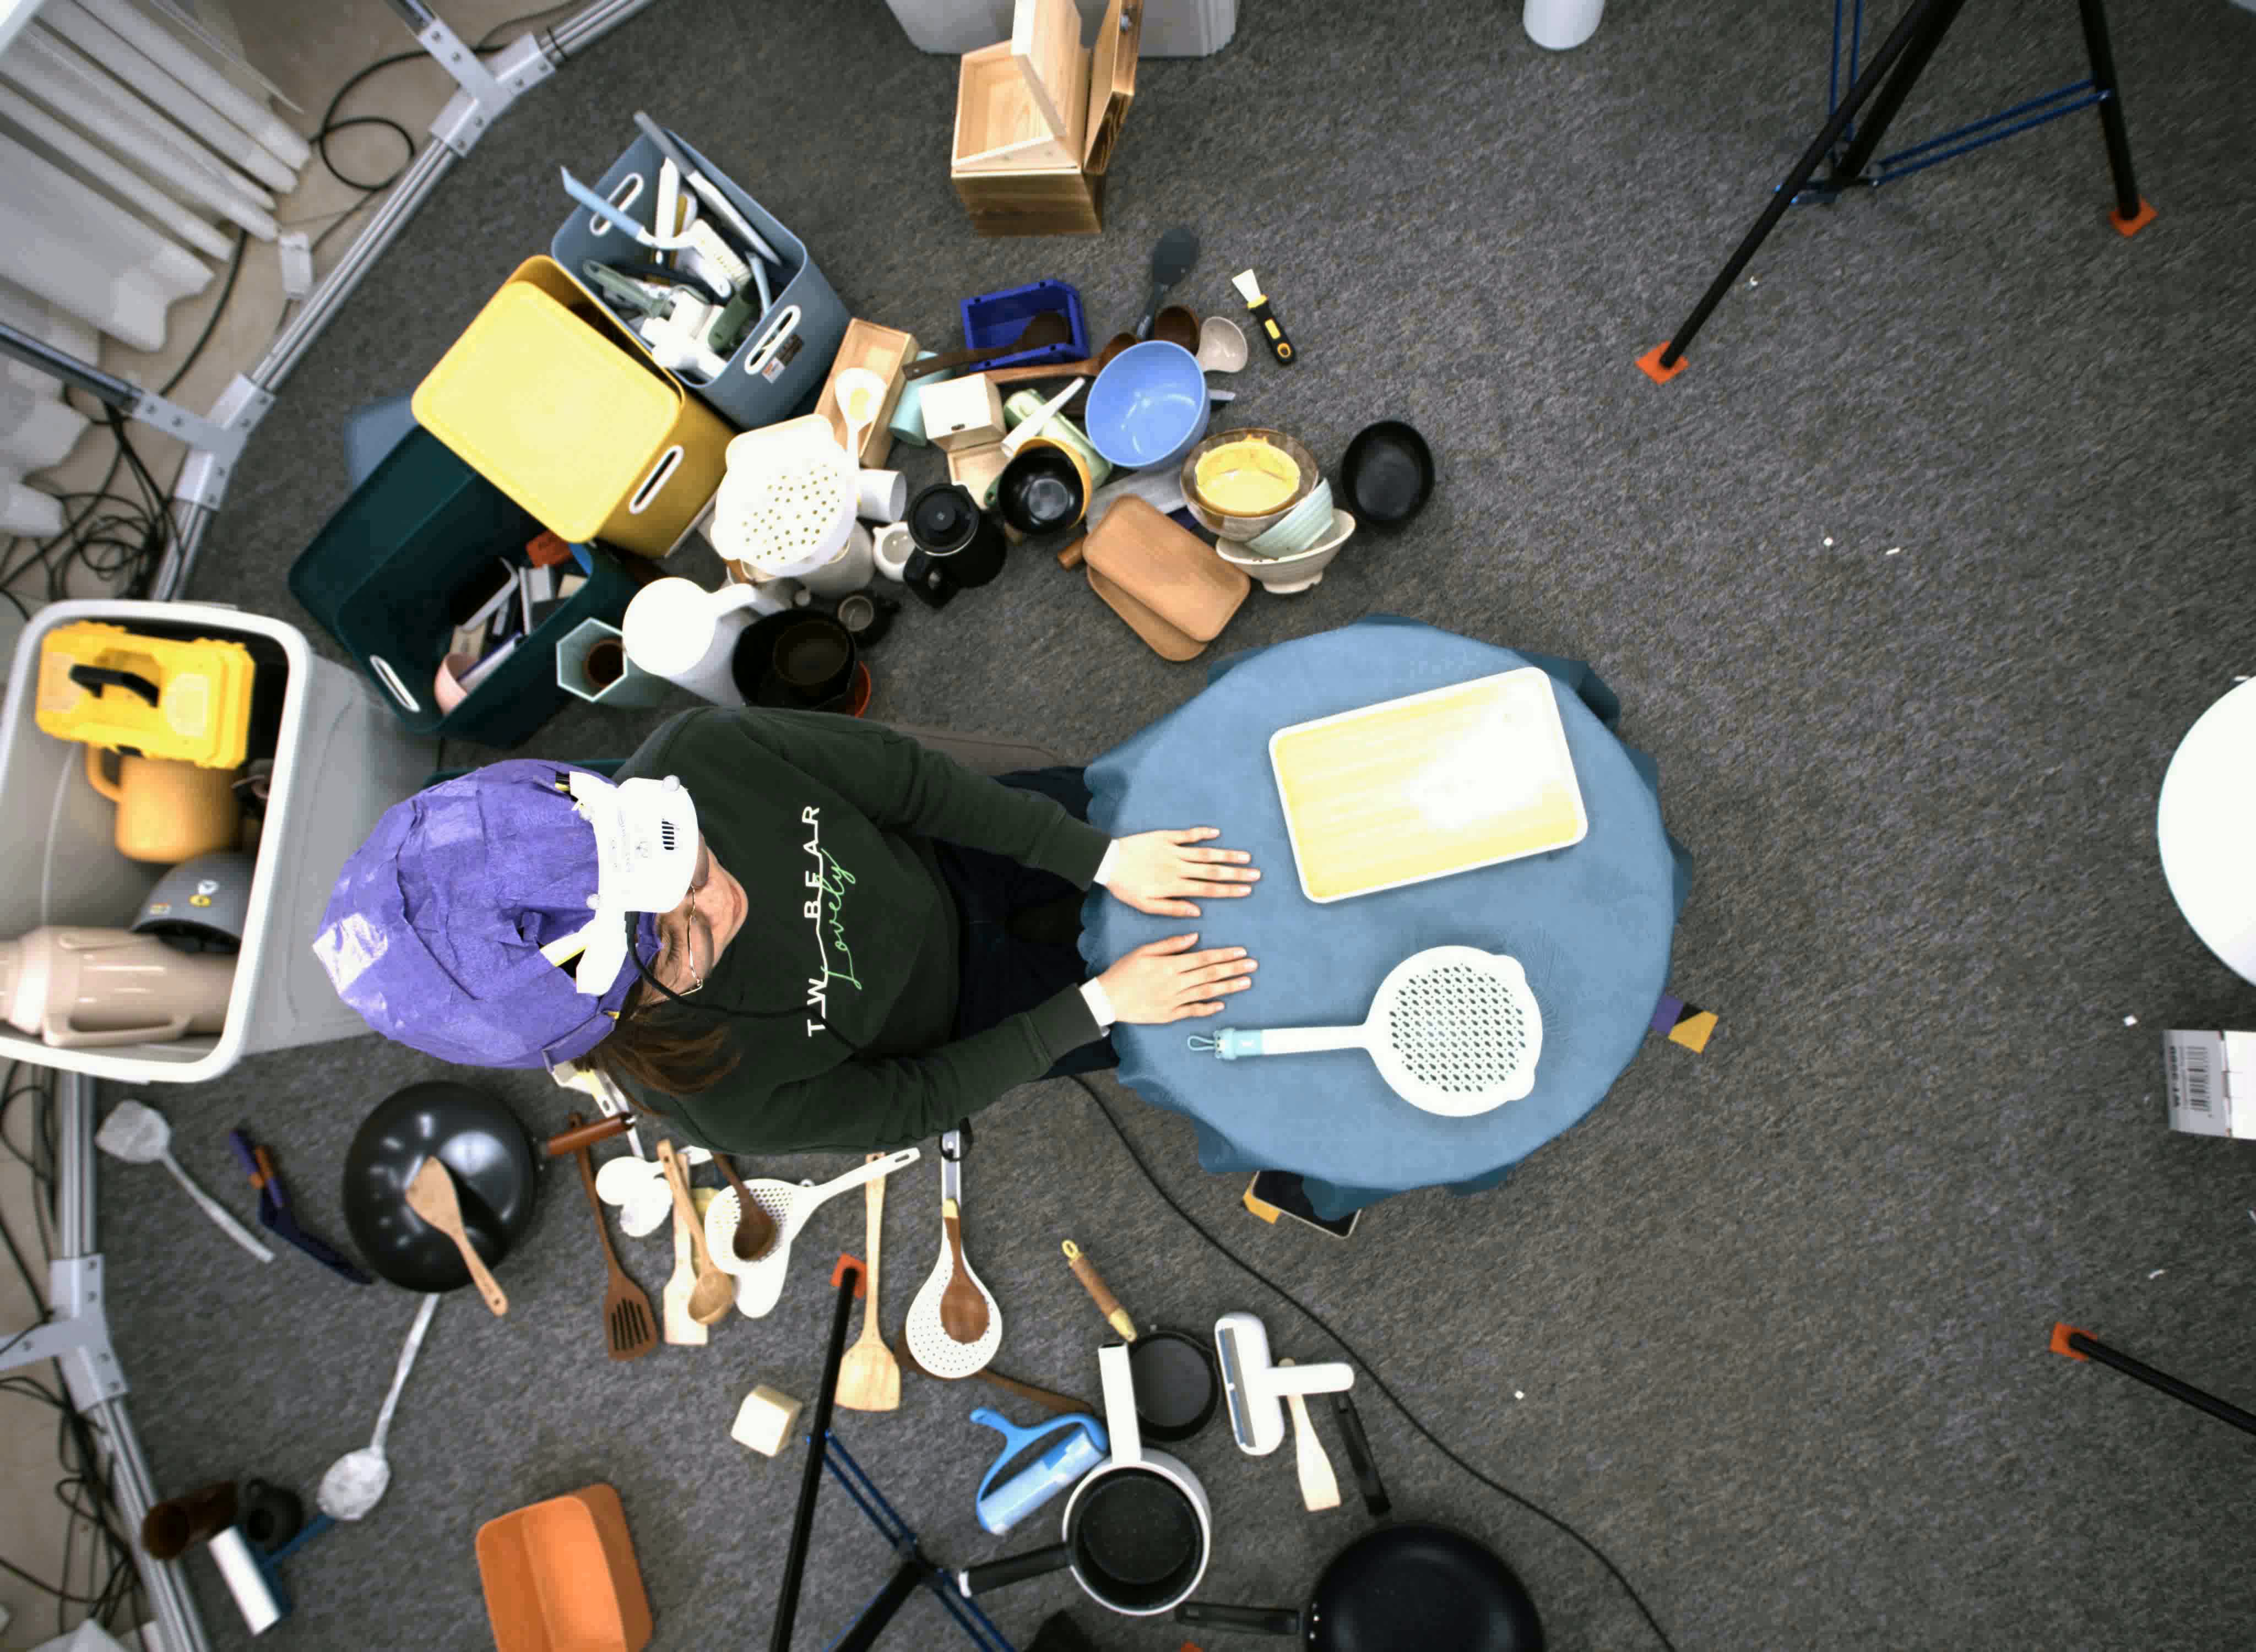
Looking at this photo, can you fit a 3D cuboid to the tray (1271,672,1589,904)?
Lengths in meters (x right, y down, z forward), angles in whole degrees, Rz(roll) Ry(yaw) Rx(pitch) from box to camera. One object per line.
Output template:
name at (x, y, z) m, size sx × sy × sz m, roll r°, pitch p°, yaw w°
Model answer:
tray at (0.315, -0.041, 1.451) m, size 0.302 × 0.027 × 0.190 m, roll -13°, pitch 84°, yaw 9°

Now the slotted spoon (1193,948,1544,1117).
slotted spoon at (0.241, 0.217, 1.428) m, size 0.360 × 0.075 × 0.168 m, roll -5°, pitch 84°, yaw 10°
